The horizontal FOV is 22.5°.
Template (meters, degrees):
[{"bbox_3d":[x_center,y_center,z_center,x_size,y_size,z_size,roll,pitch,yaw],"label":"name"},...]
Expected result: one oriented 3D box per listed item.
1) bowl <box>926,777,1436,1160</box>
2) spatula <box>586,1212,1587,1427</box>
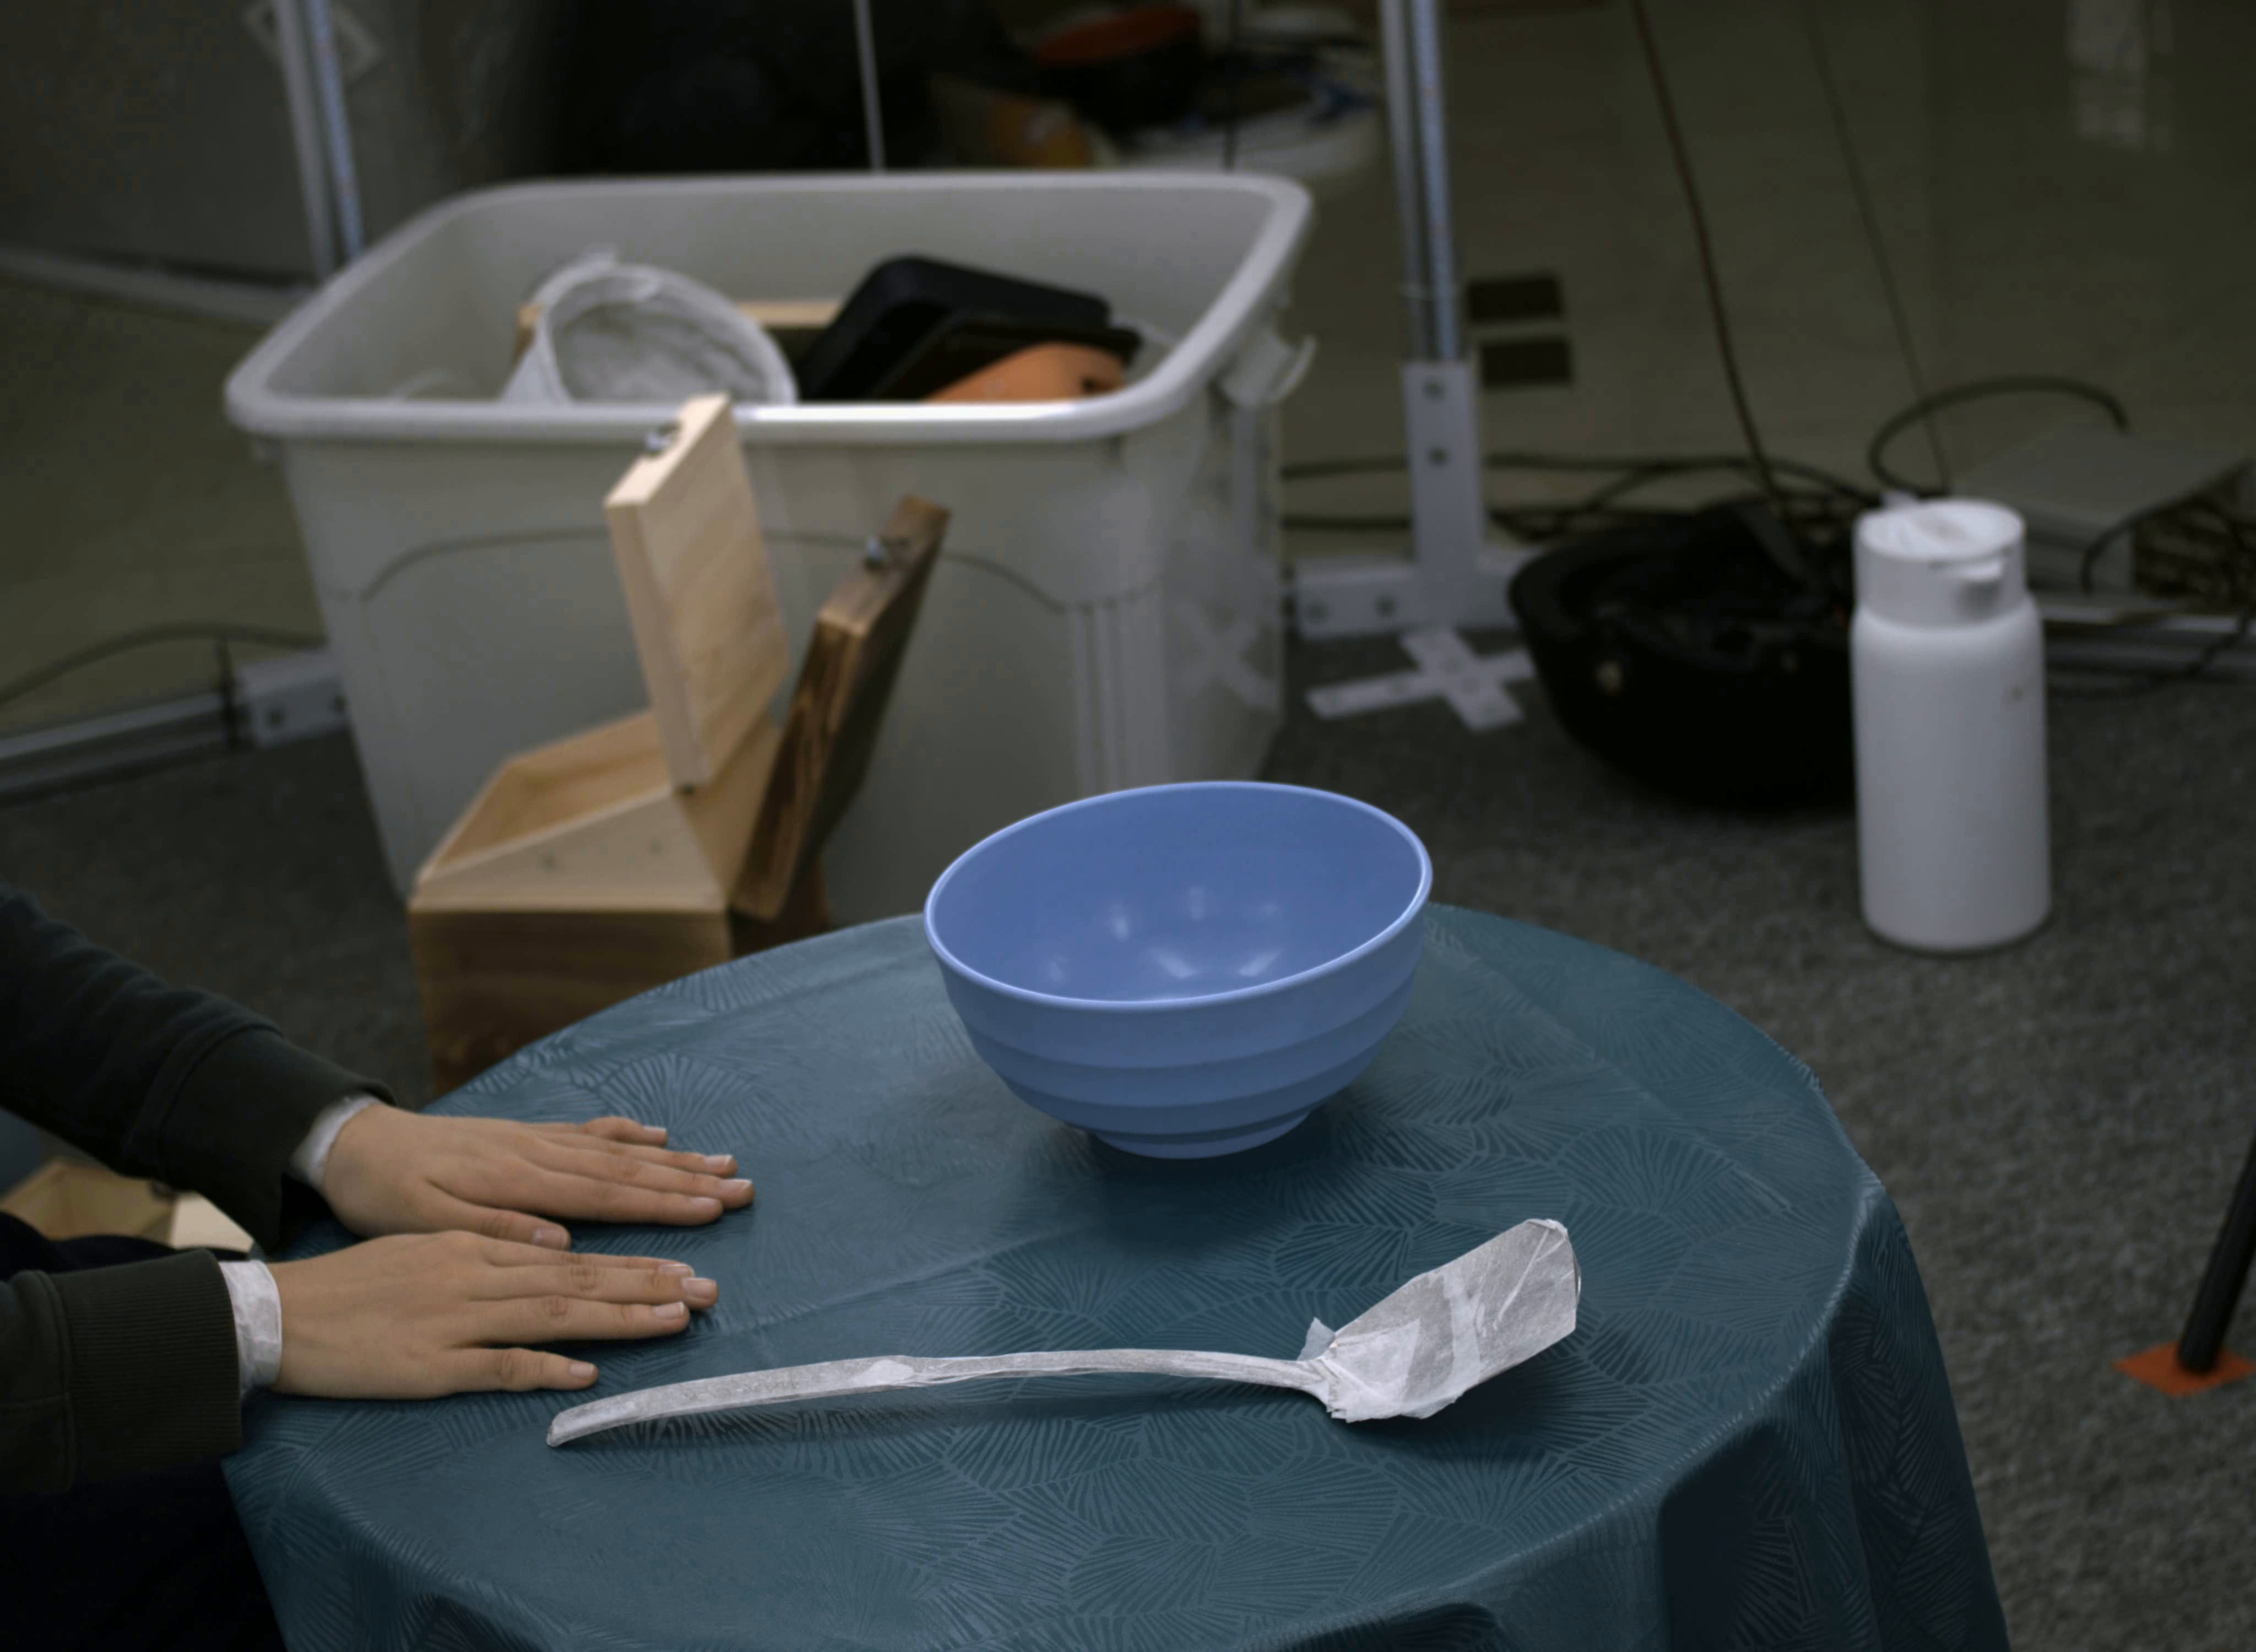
[{"bbox_3d":[0.024,0.066,2.189,0.196,0.097,0.193,-4,27,2],"label":"bowl"},{"bbox_3d":[-0.019,0.185,2.012,0.364,0.045,0.097,-3,27,6],"label":"spatula"}]
